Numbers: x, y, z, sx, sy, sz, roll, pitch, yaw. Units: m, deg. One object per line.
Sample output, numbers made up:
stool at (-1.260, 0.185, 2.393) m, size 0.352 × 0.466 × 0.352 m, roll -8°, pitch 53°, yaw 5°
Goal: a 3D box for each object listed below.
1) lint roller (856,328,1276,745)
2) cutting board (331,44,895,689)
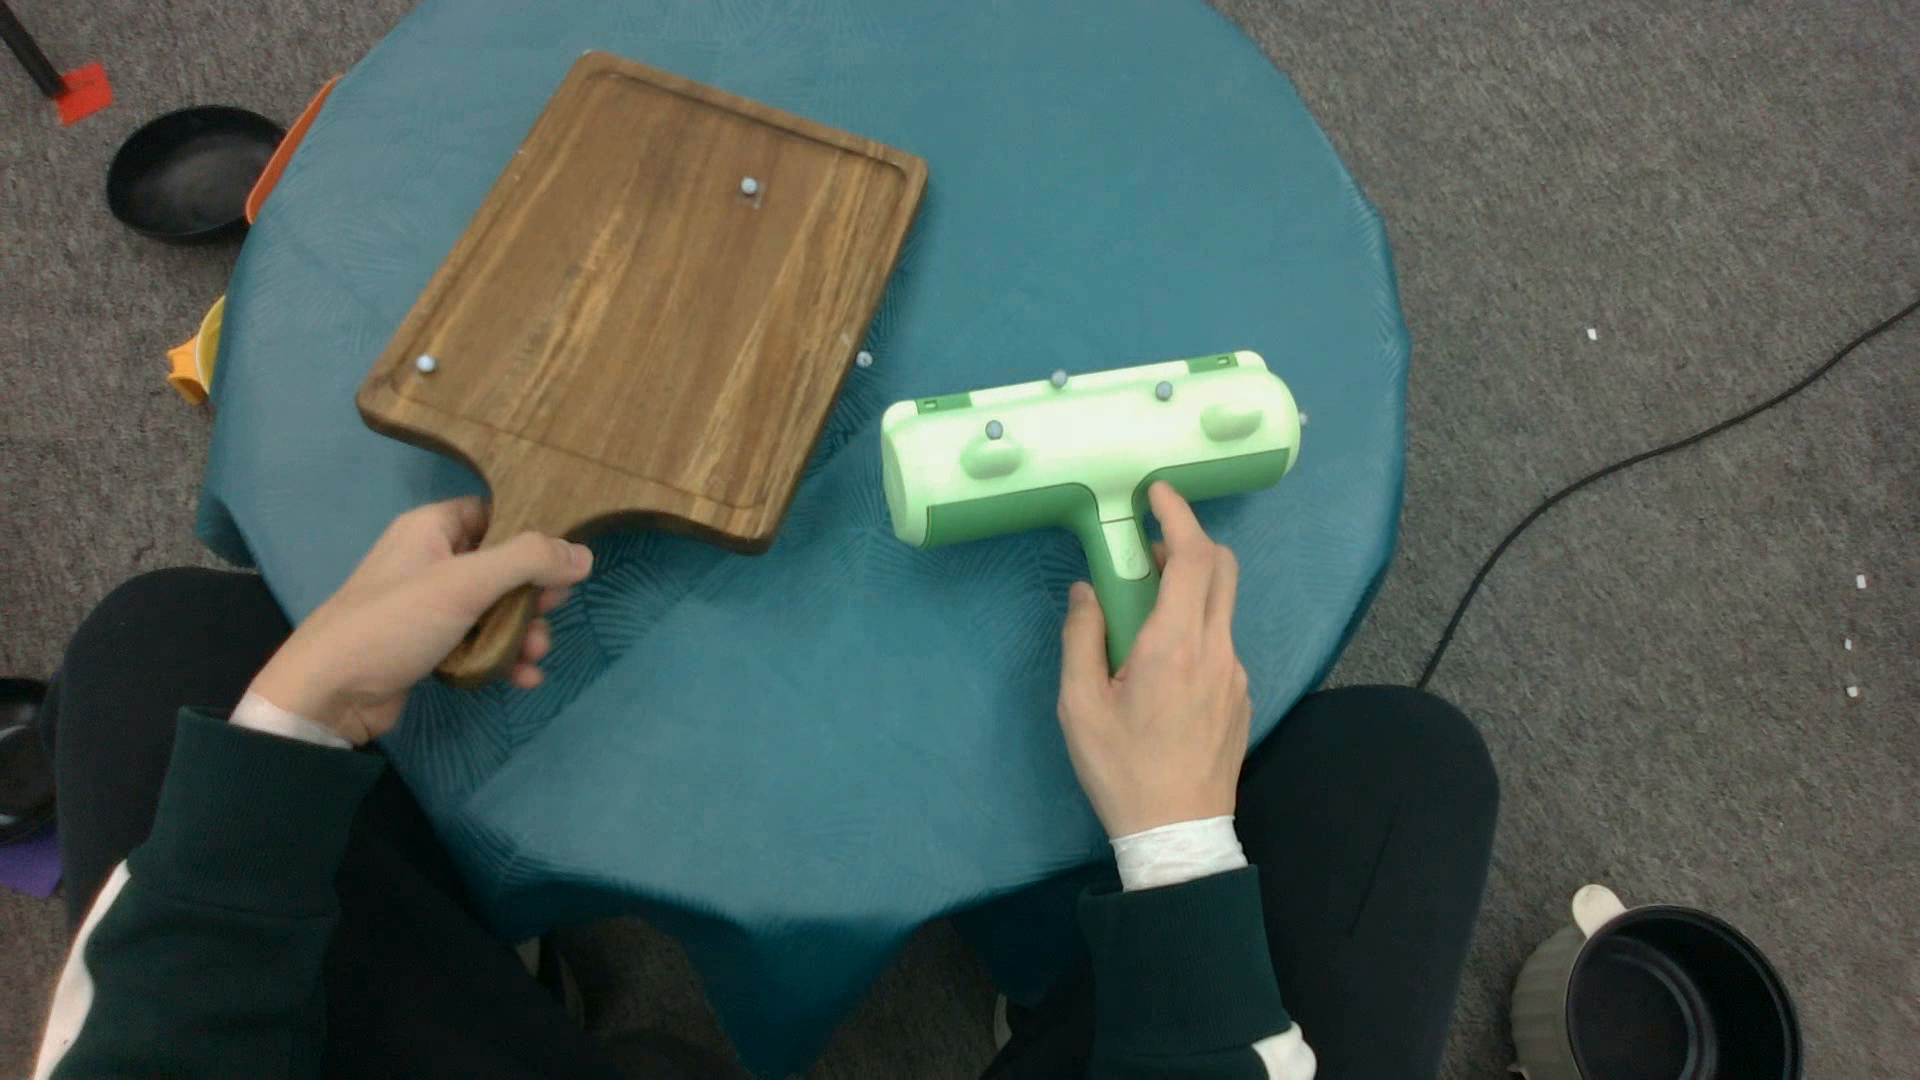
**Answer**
lint roller at (0.068, -0.004, 0.616) m, size 0.199 × 0.082 × 0.184 m, roll -11°, pitch 69°, yaw -17°
cutting board at (-0.169, -0.091, 0.650) m, size 0.201 × 0.023 × 0.354 m, roll 17°, pitch 60°, yaw 1°
